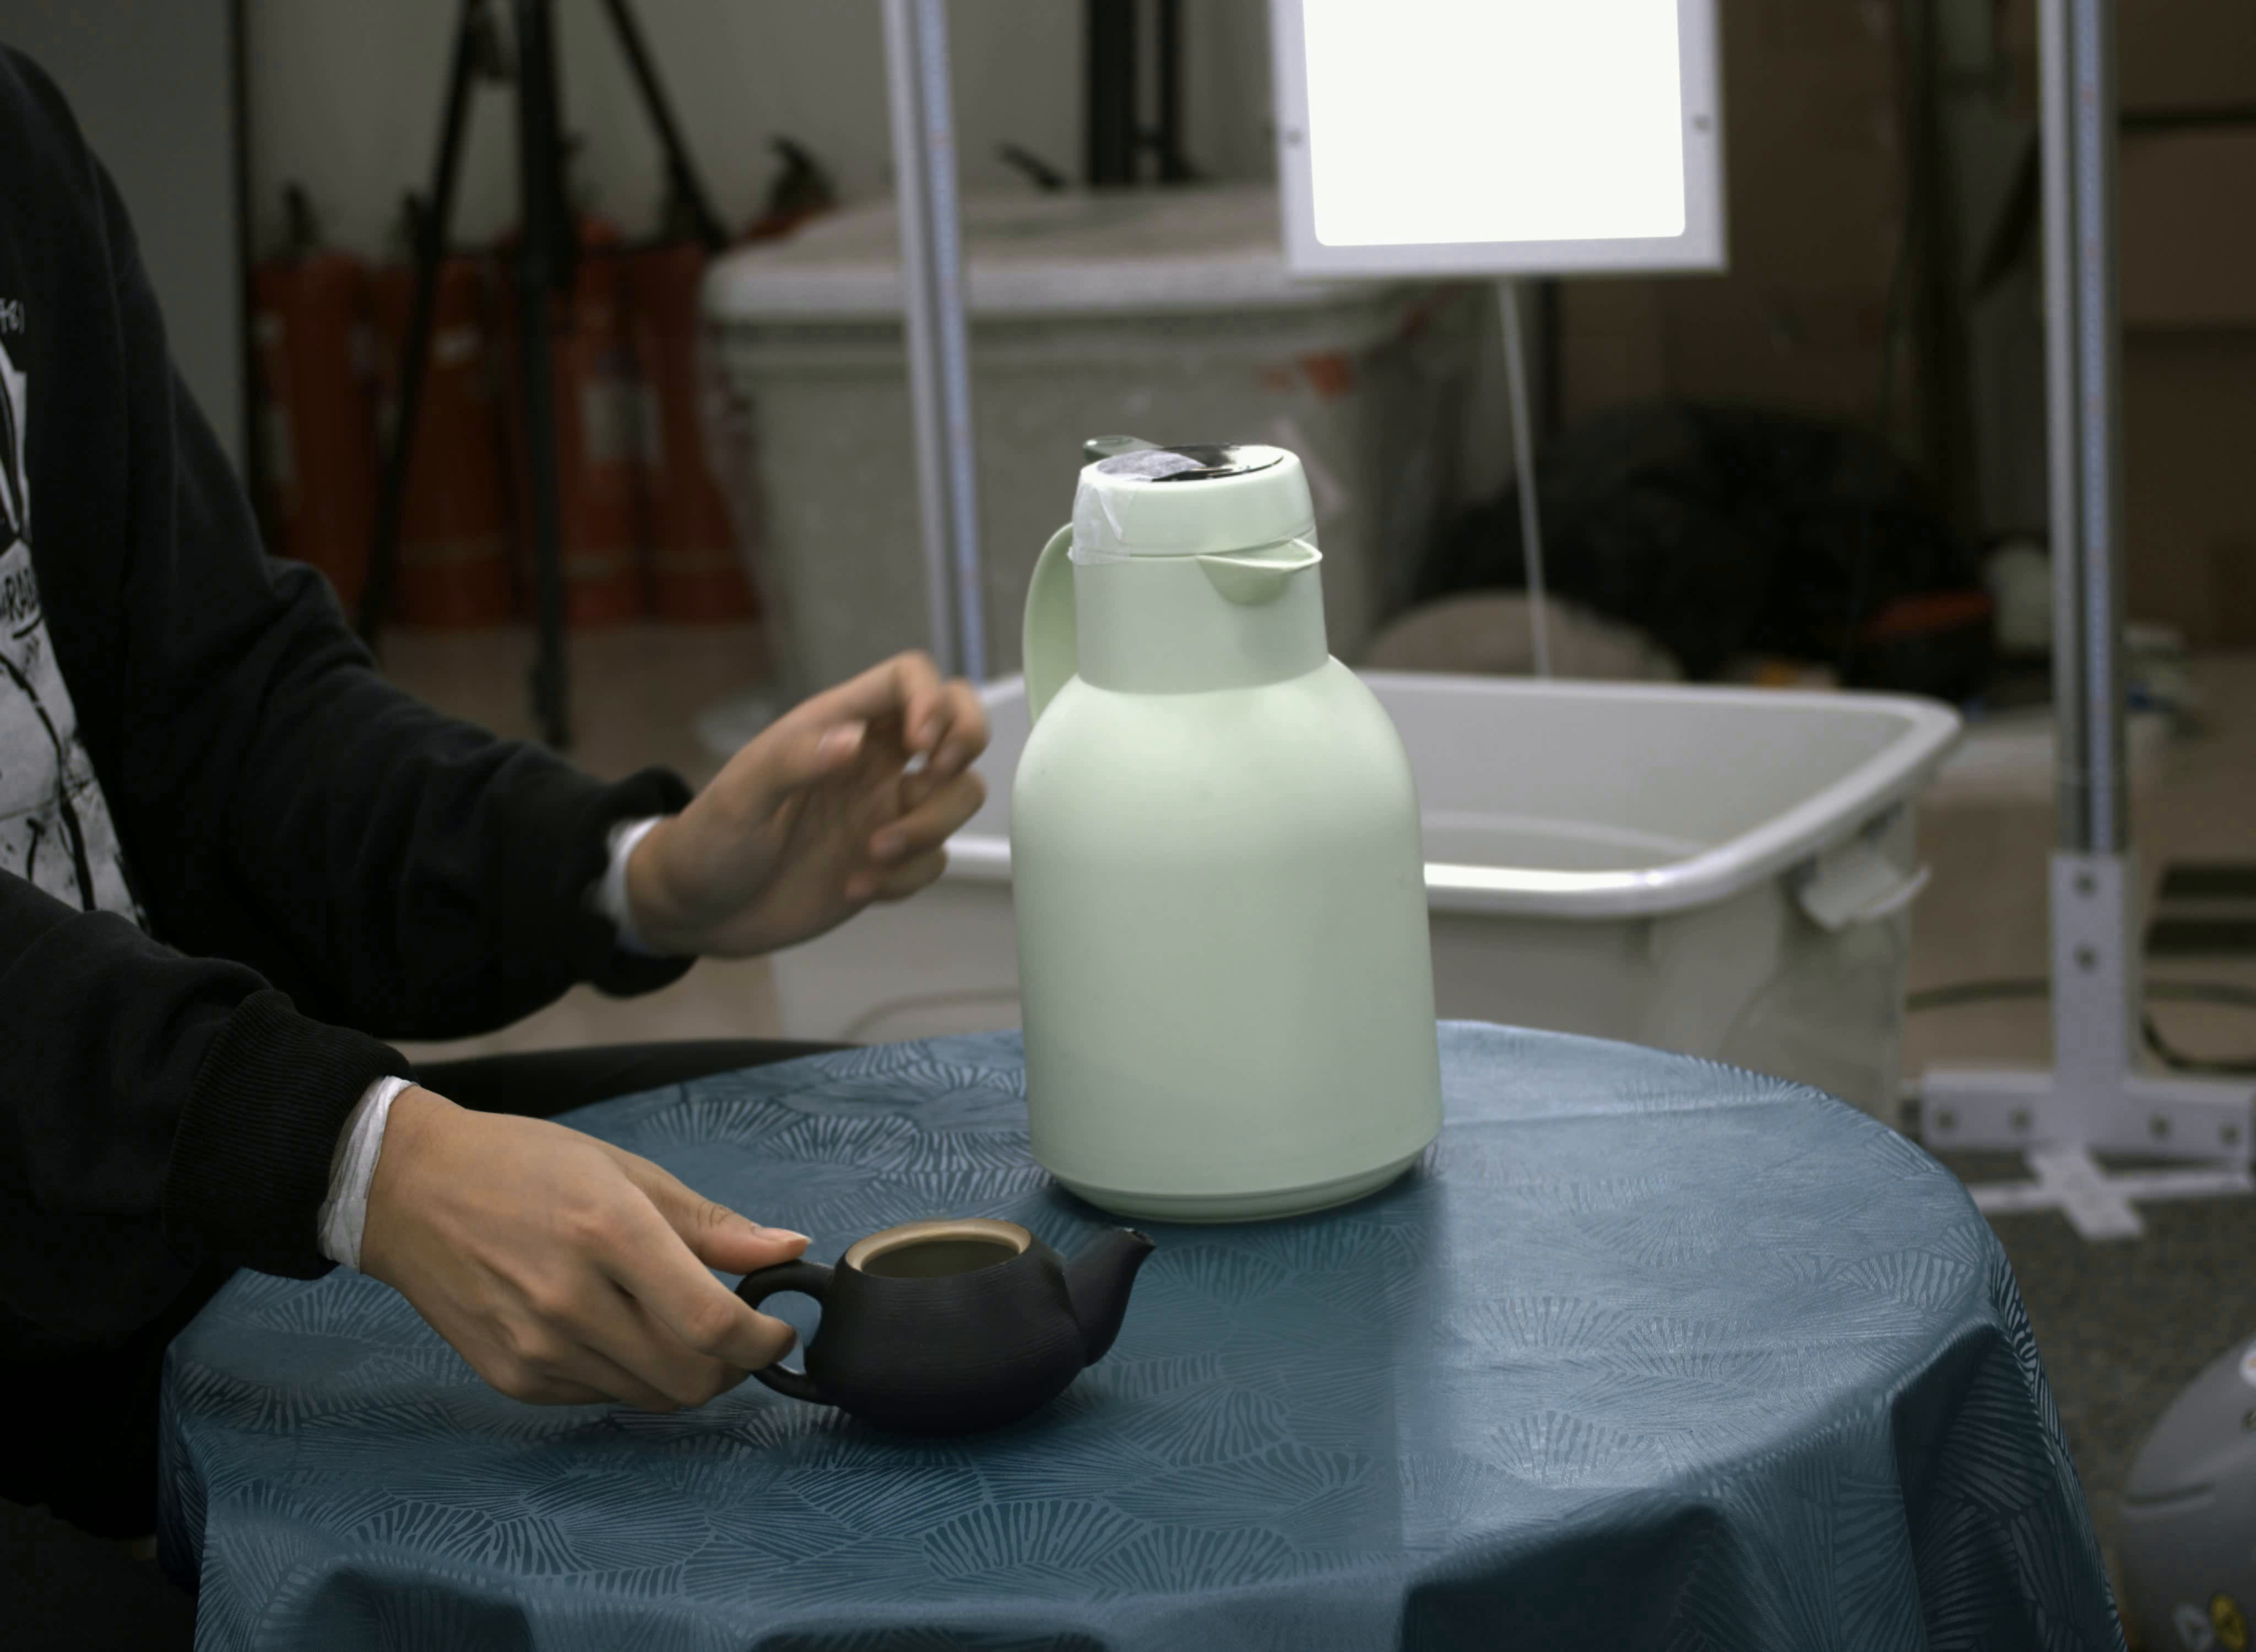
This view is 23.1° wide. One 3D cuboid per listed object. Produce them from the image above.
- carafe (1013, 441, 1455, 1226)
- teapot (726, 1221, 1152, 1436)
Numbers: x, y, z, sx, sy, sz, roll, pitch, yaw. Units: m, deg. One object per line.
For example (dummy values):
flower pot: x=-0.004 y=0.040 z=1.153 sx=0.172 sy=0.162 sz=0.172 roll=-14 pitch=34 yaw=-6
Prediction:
carafe: x=0.024 y=-0.003 z=1.894 sx=0.141 sy=0.257 sz=0.190 roll=-13 pitch=13 yaw=-26
teapot: x=-0.057 y=0.154 z=1.694 sx=0.133 sy=0.053 sz=0.091 roll=-5 pitch=12 yaw=1
